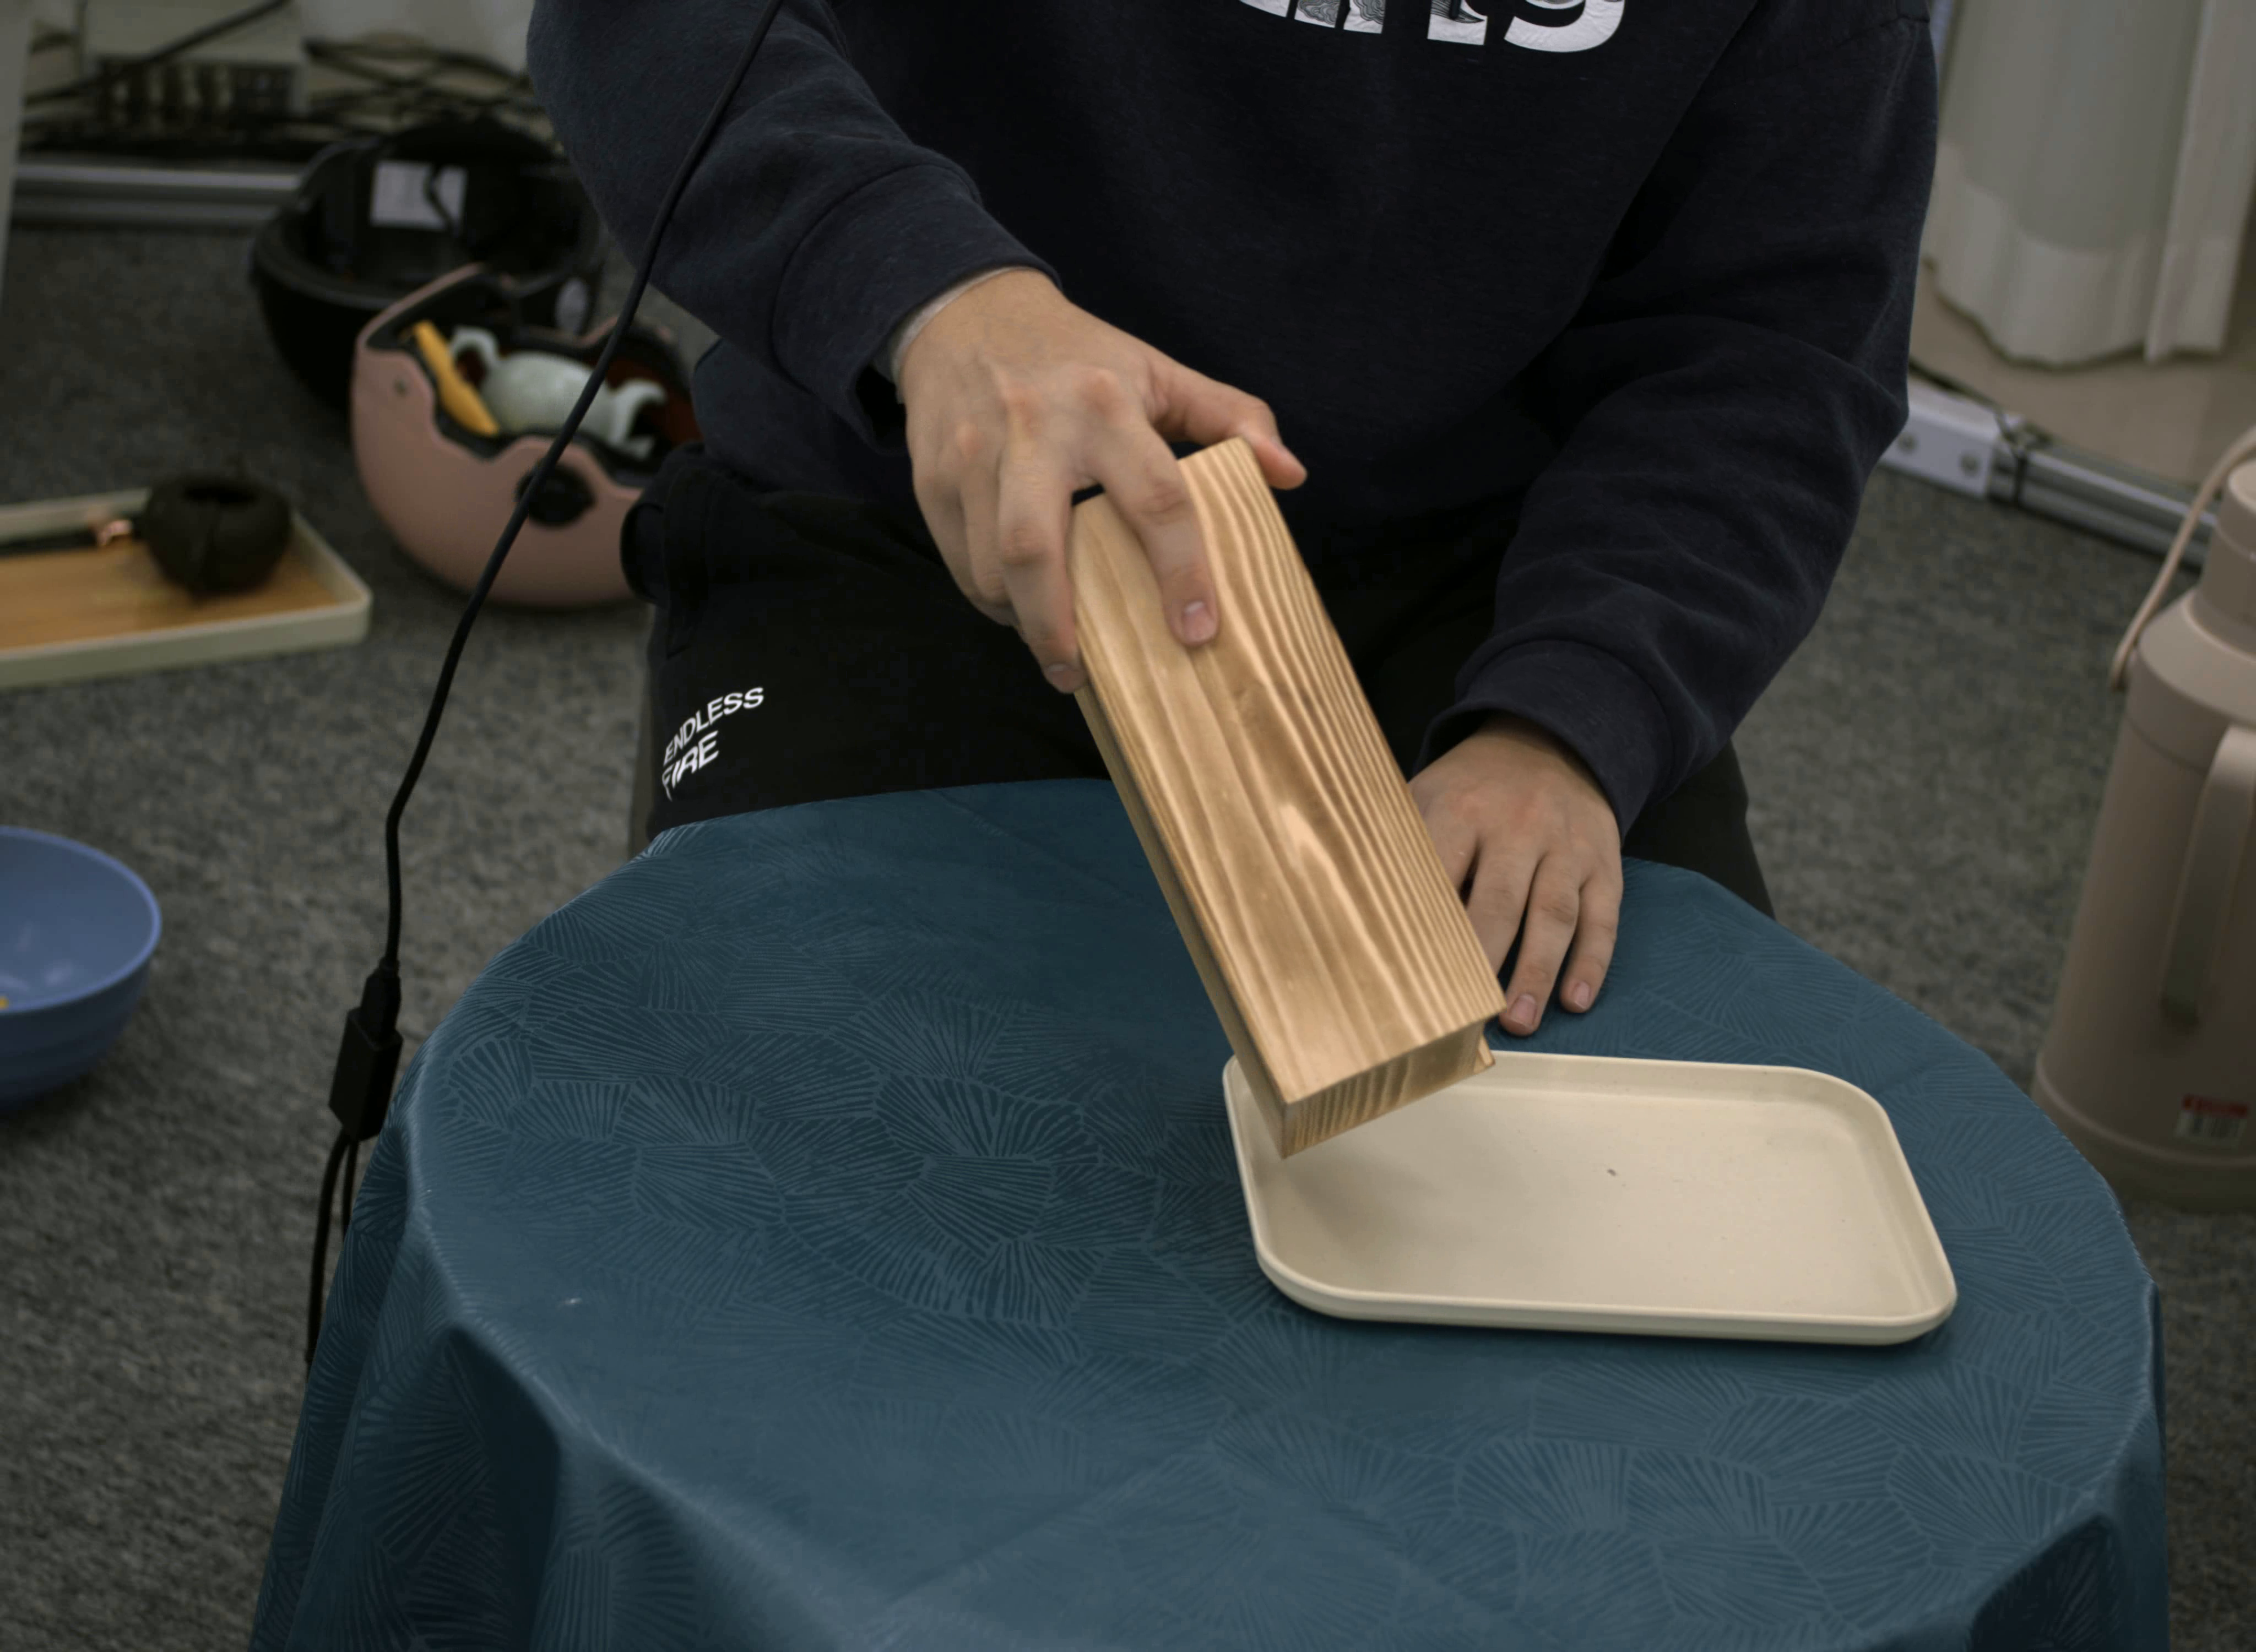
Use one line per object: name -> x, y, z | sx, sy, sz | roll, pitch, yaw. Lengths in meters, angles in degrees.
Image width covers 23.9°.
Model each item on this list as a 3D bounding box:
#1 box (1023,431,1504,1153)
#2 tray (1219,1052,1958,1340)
box -> 0.044, -0.010, 1.771 | 0.080, 0.212, 0.107 | -23, -13, -3
tray -> 0.154, 0.126, 1.820 | 0.238, 0.017, 0.172 | 3, 26, -7
